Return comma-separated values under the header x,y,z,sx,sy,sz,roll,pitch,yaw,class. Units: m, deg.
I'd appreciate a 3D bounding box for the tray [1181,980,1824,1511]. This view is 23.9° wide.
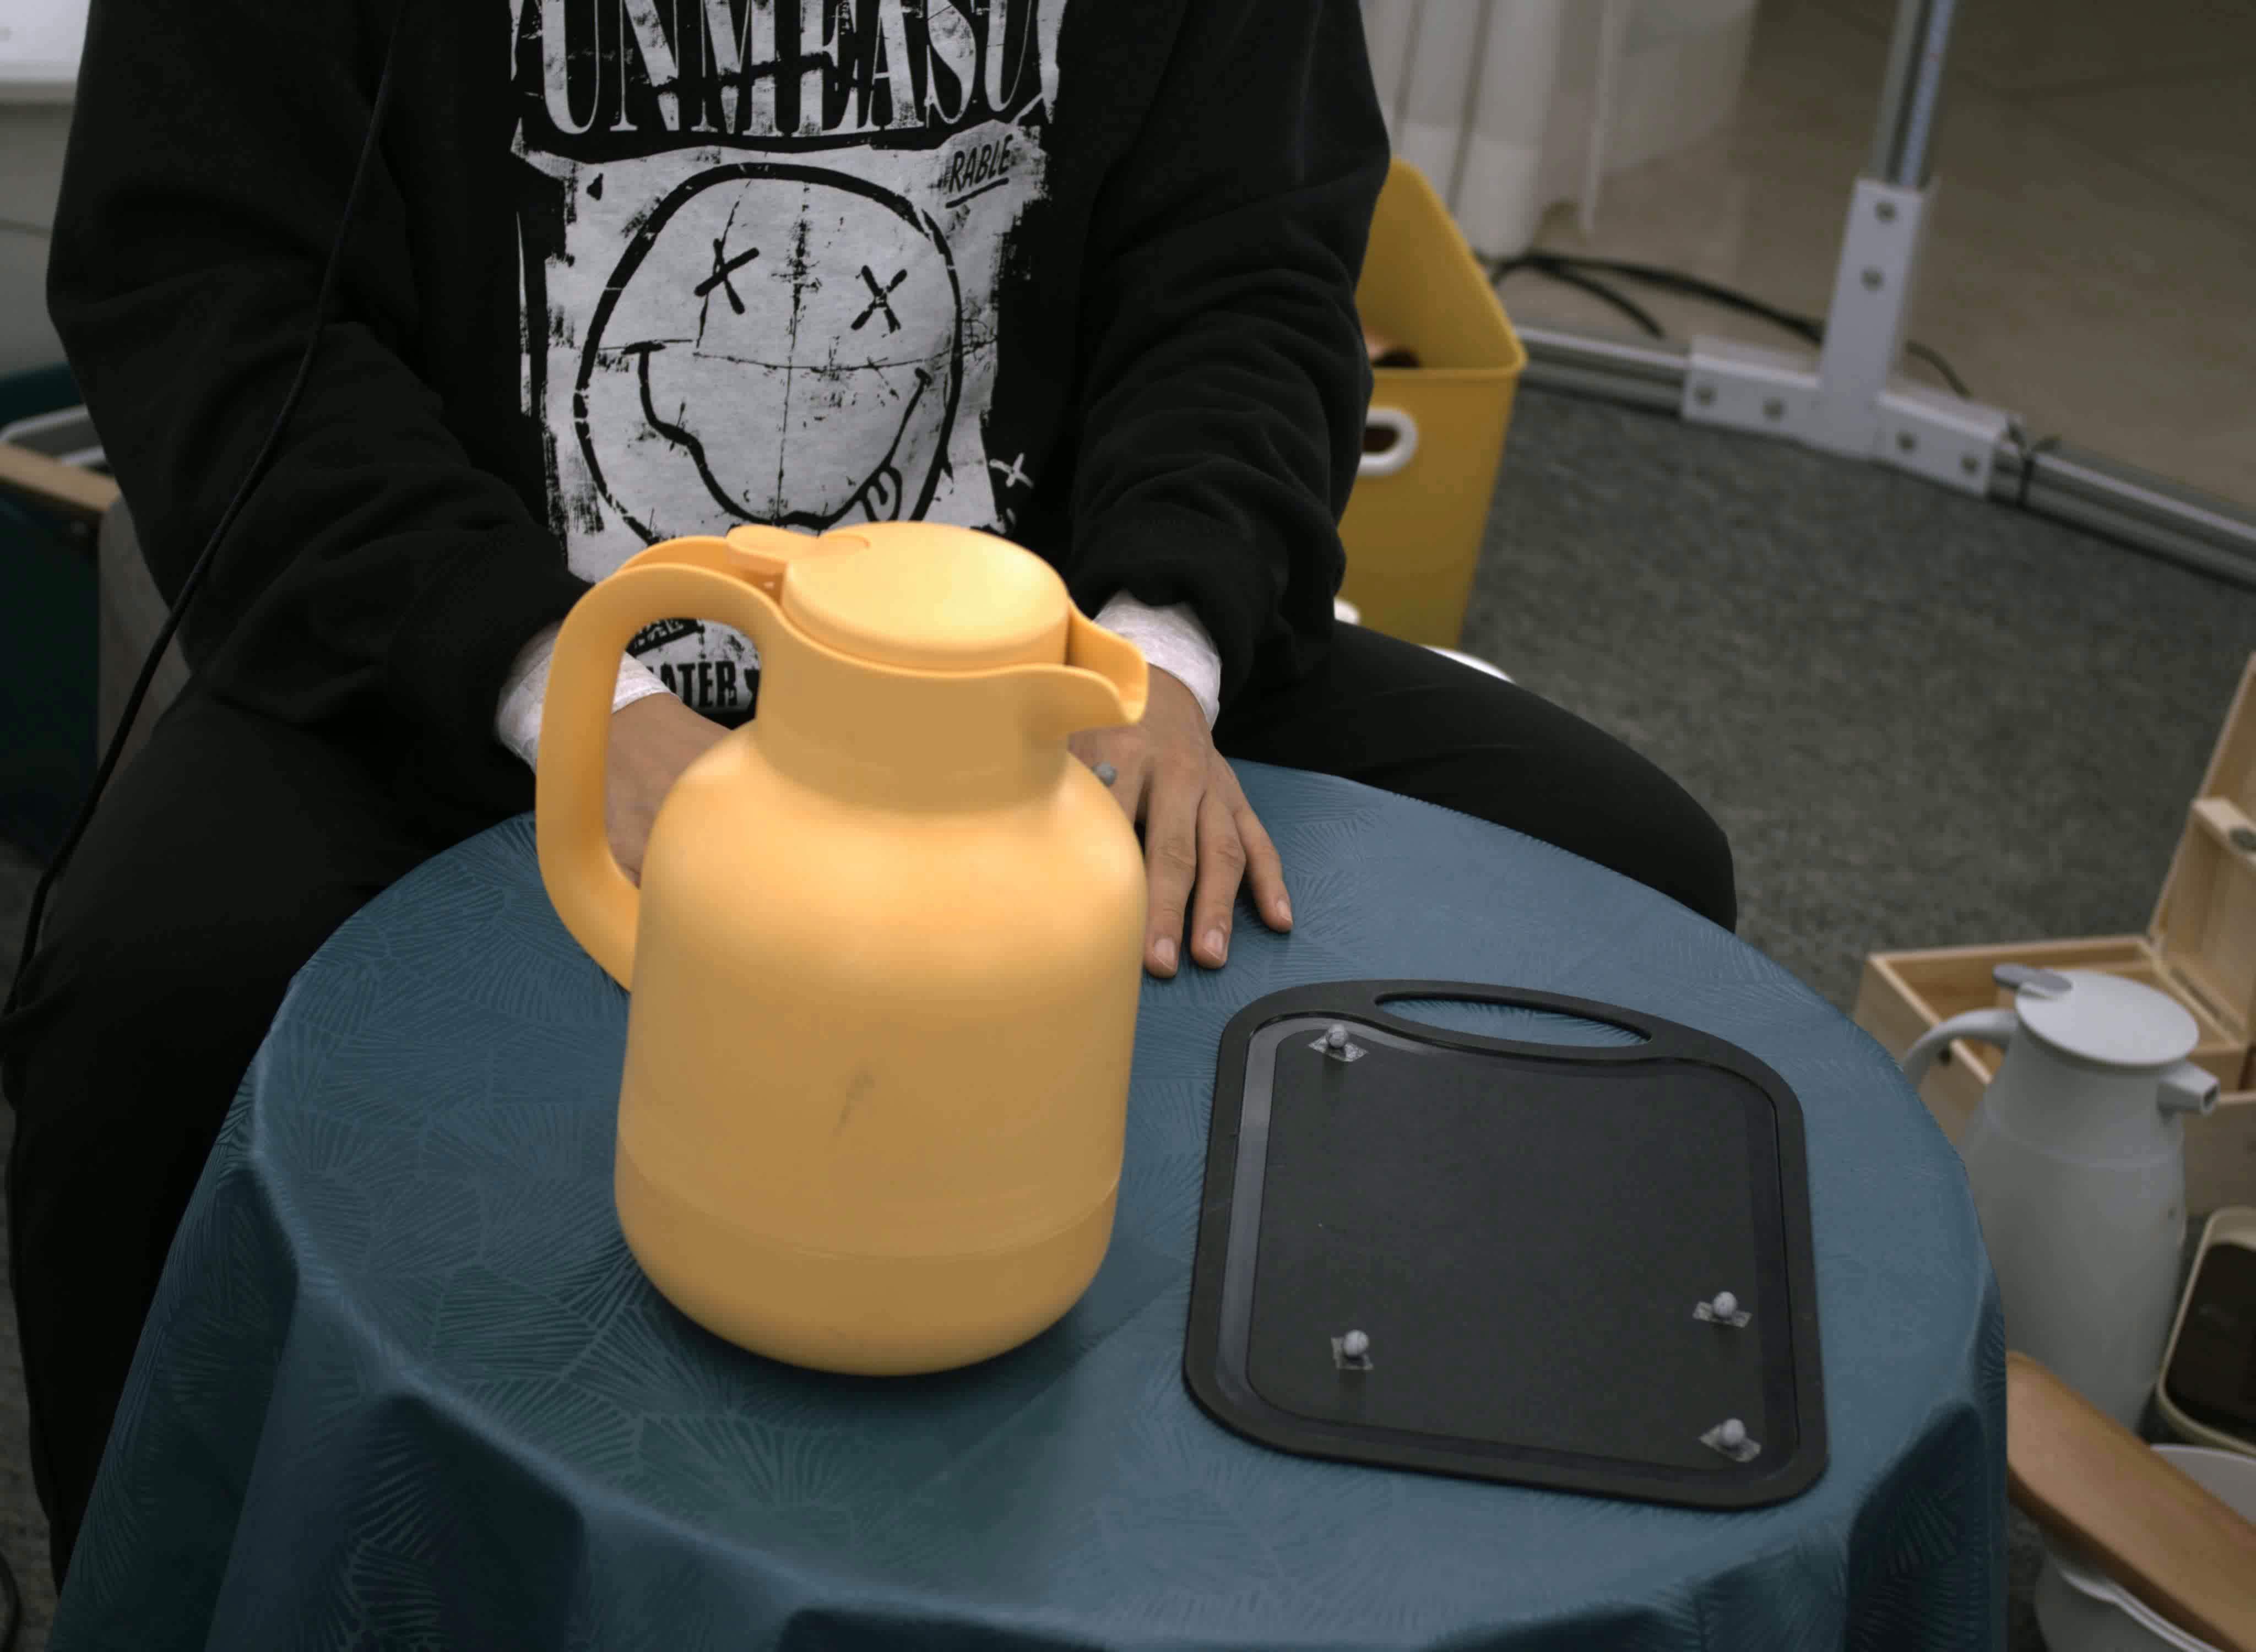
x,y,z,sx,sy,sz,roll,pitch,yaw,class
0.129,0.132,1.811,0.210,0.010,0.327,8,27,2,tray

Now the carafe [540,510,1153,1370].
x,y,z,sx,sy,sz,roll,pitch,yaw,class
-0.094,0.025,1.687,0.203,0.260,0.163,19,26,19,carafe
